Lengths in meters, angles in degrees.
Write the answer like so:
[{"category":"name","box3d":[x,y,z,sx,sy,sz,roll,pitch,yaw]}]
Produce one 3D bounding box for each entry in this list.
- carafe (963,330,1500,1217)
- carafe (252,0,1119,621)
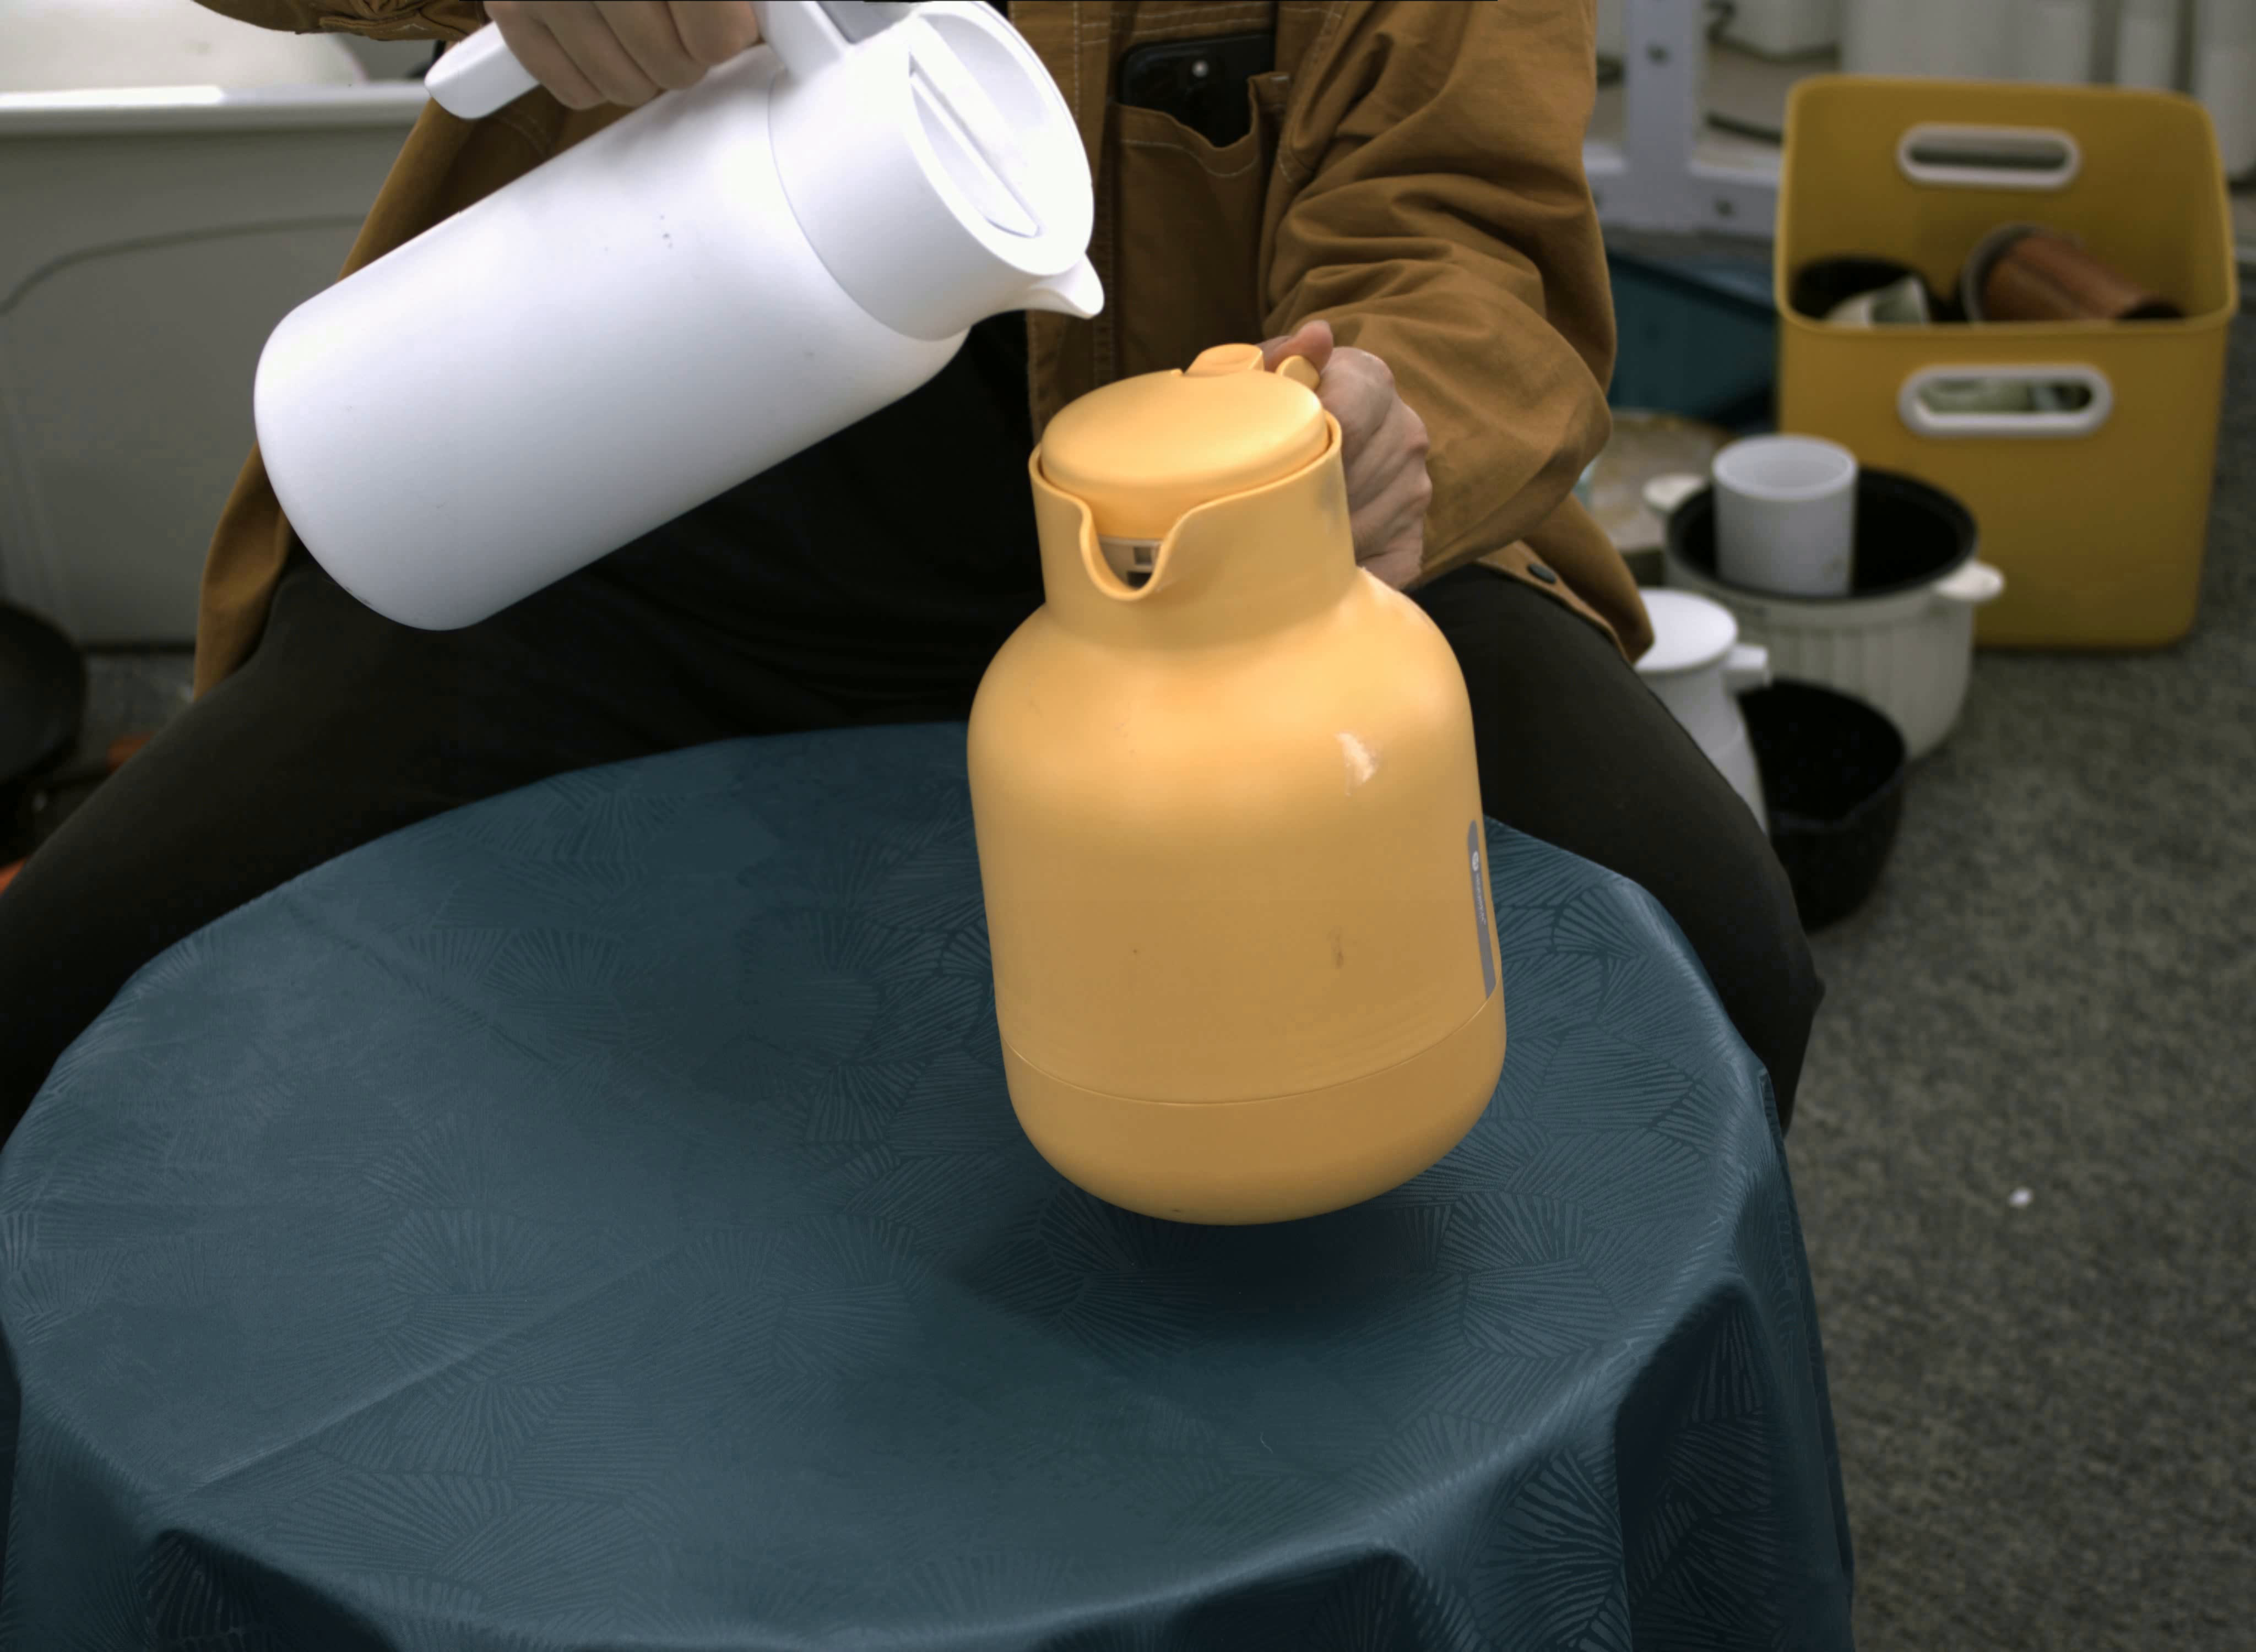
[{"category":"carafe","box3d":[0.037,-0.026,1.791,0.162,0.258,0.206,4,28,19]},{"category":"carafe","box3d":[-0.153,-0.177,1.755,0.265,0.172,0.126,-24,25,31]}]
